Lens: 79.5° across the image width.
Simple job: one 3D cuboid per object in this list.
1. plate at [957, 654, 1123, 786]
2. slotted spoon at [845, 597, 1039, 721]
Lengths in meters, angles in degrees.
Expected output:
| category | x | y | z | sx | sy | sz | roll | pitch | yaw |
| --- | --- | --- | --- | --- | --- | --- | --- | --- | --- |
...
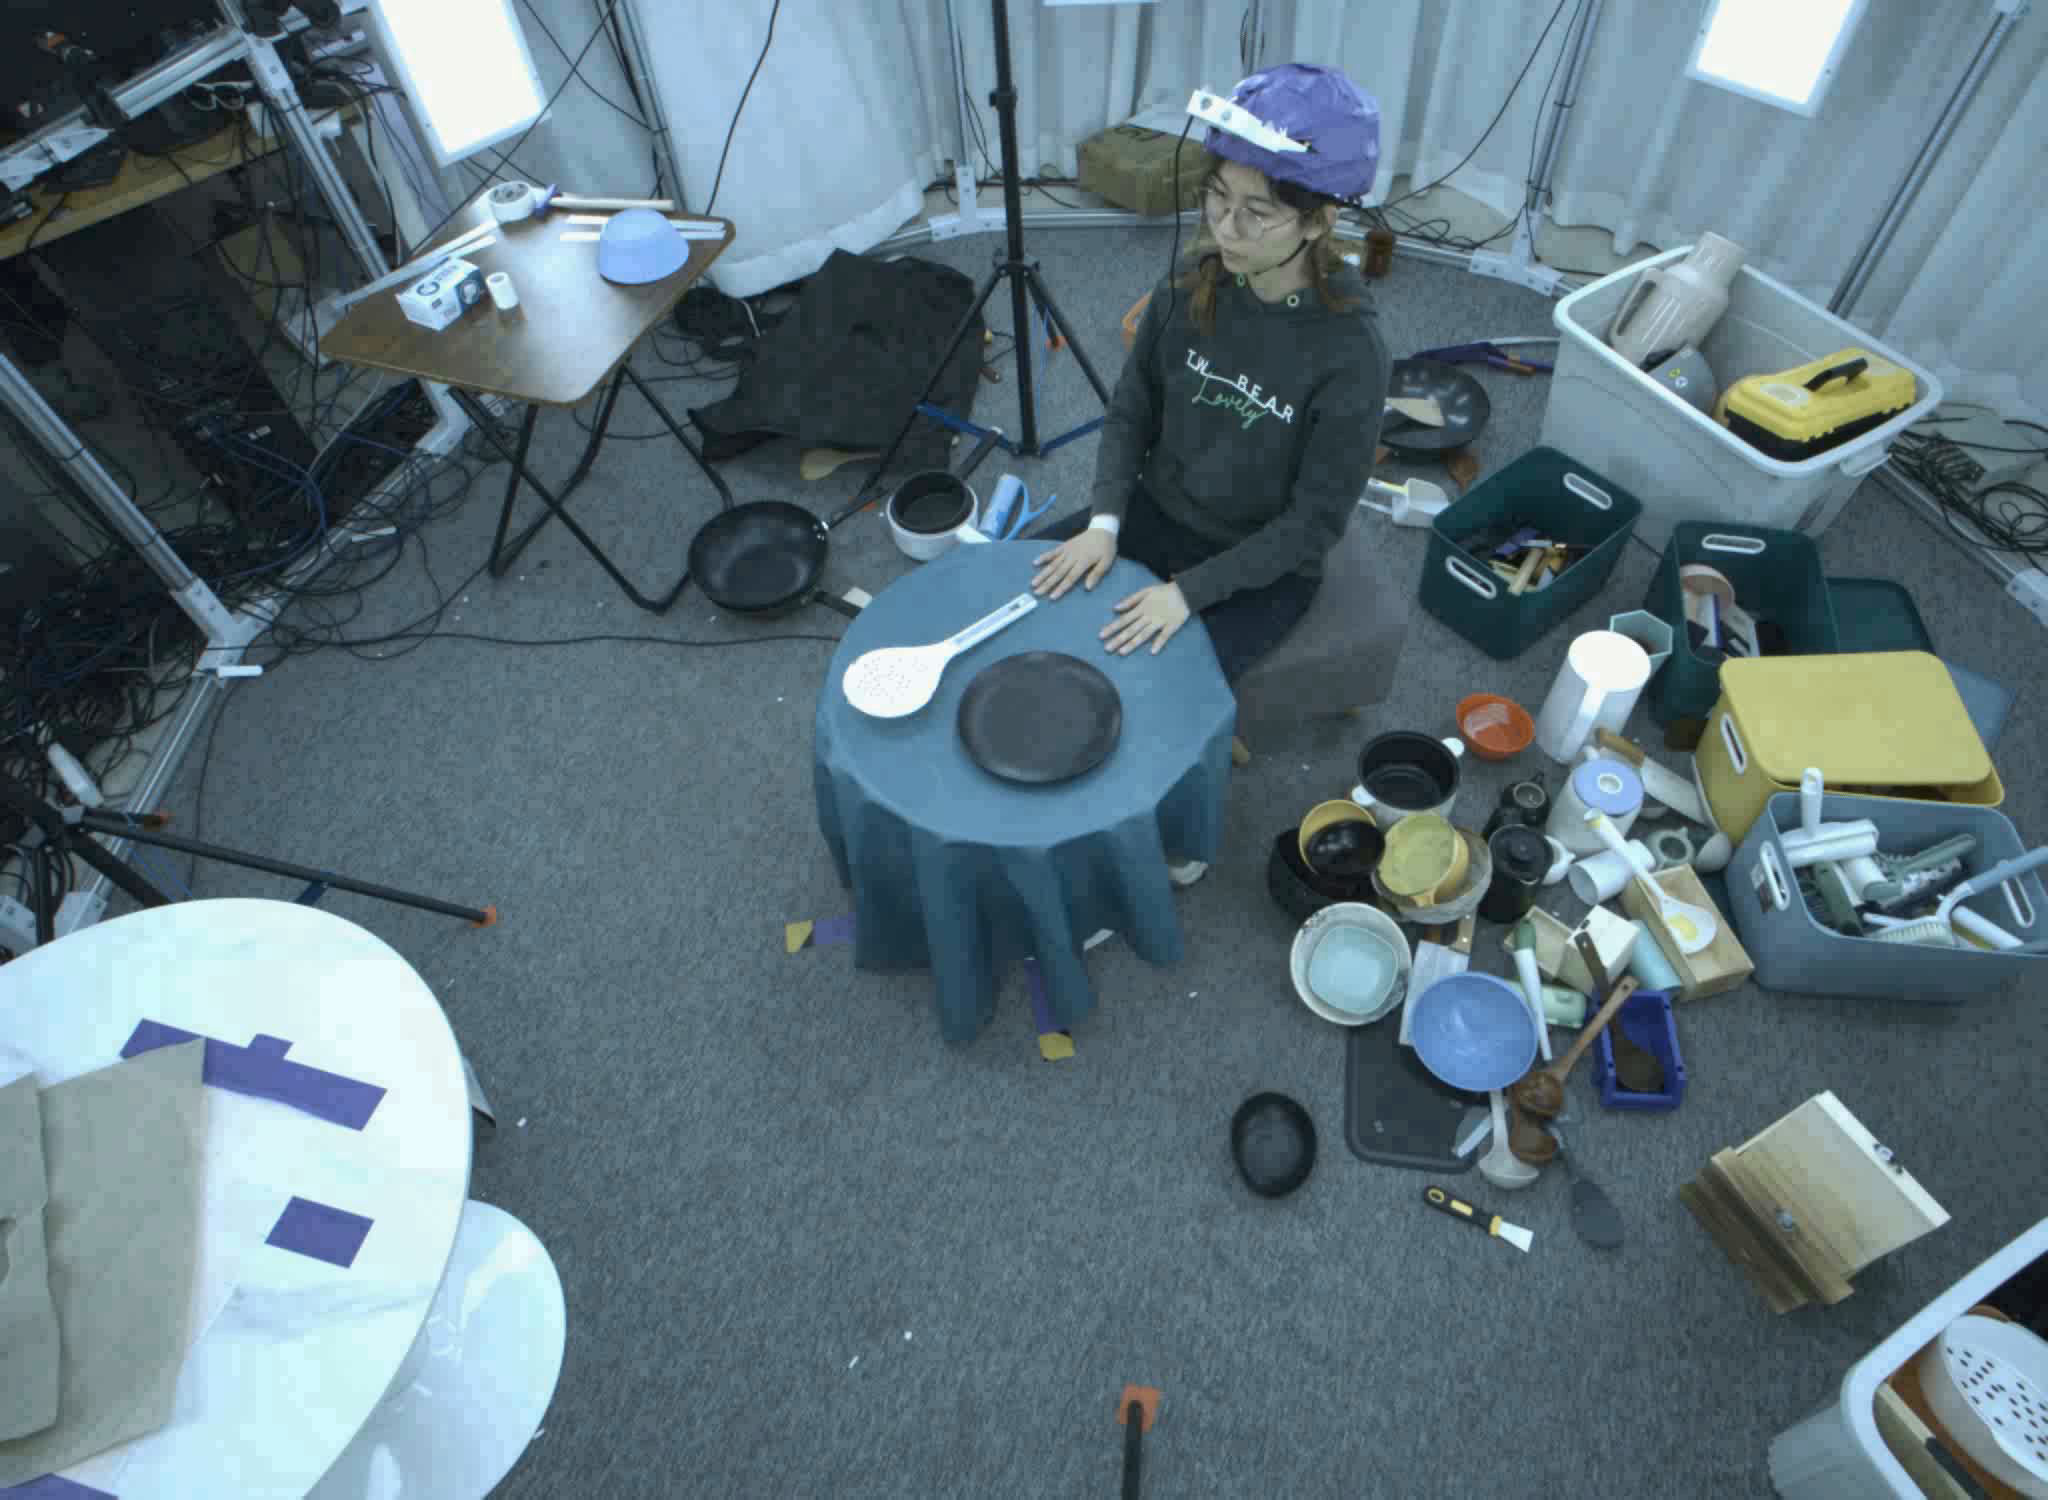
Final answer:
| category | x | y | z | sx | sy | sz | roll | pitch | yaw |
| --- | --- | --- | --- | --- | --- | --- | --- | --- | --- |
| plate | 0.024 | -0.042 | 1.813 | 0.244 | 0.023 | 0.242 | 0 | 55 | 1 |
| slotted spoon | -0.117 | -0.147 | 1.877 | 0.352 | 0.046 | 0.133 | -36 | 63 | -22 |
